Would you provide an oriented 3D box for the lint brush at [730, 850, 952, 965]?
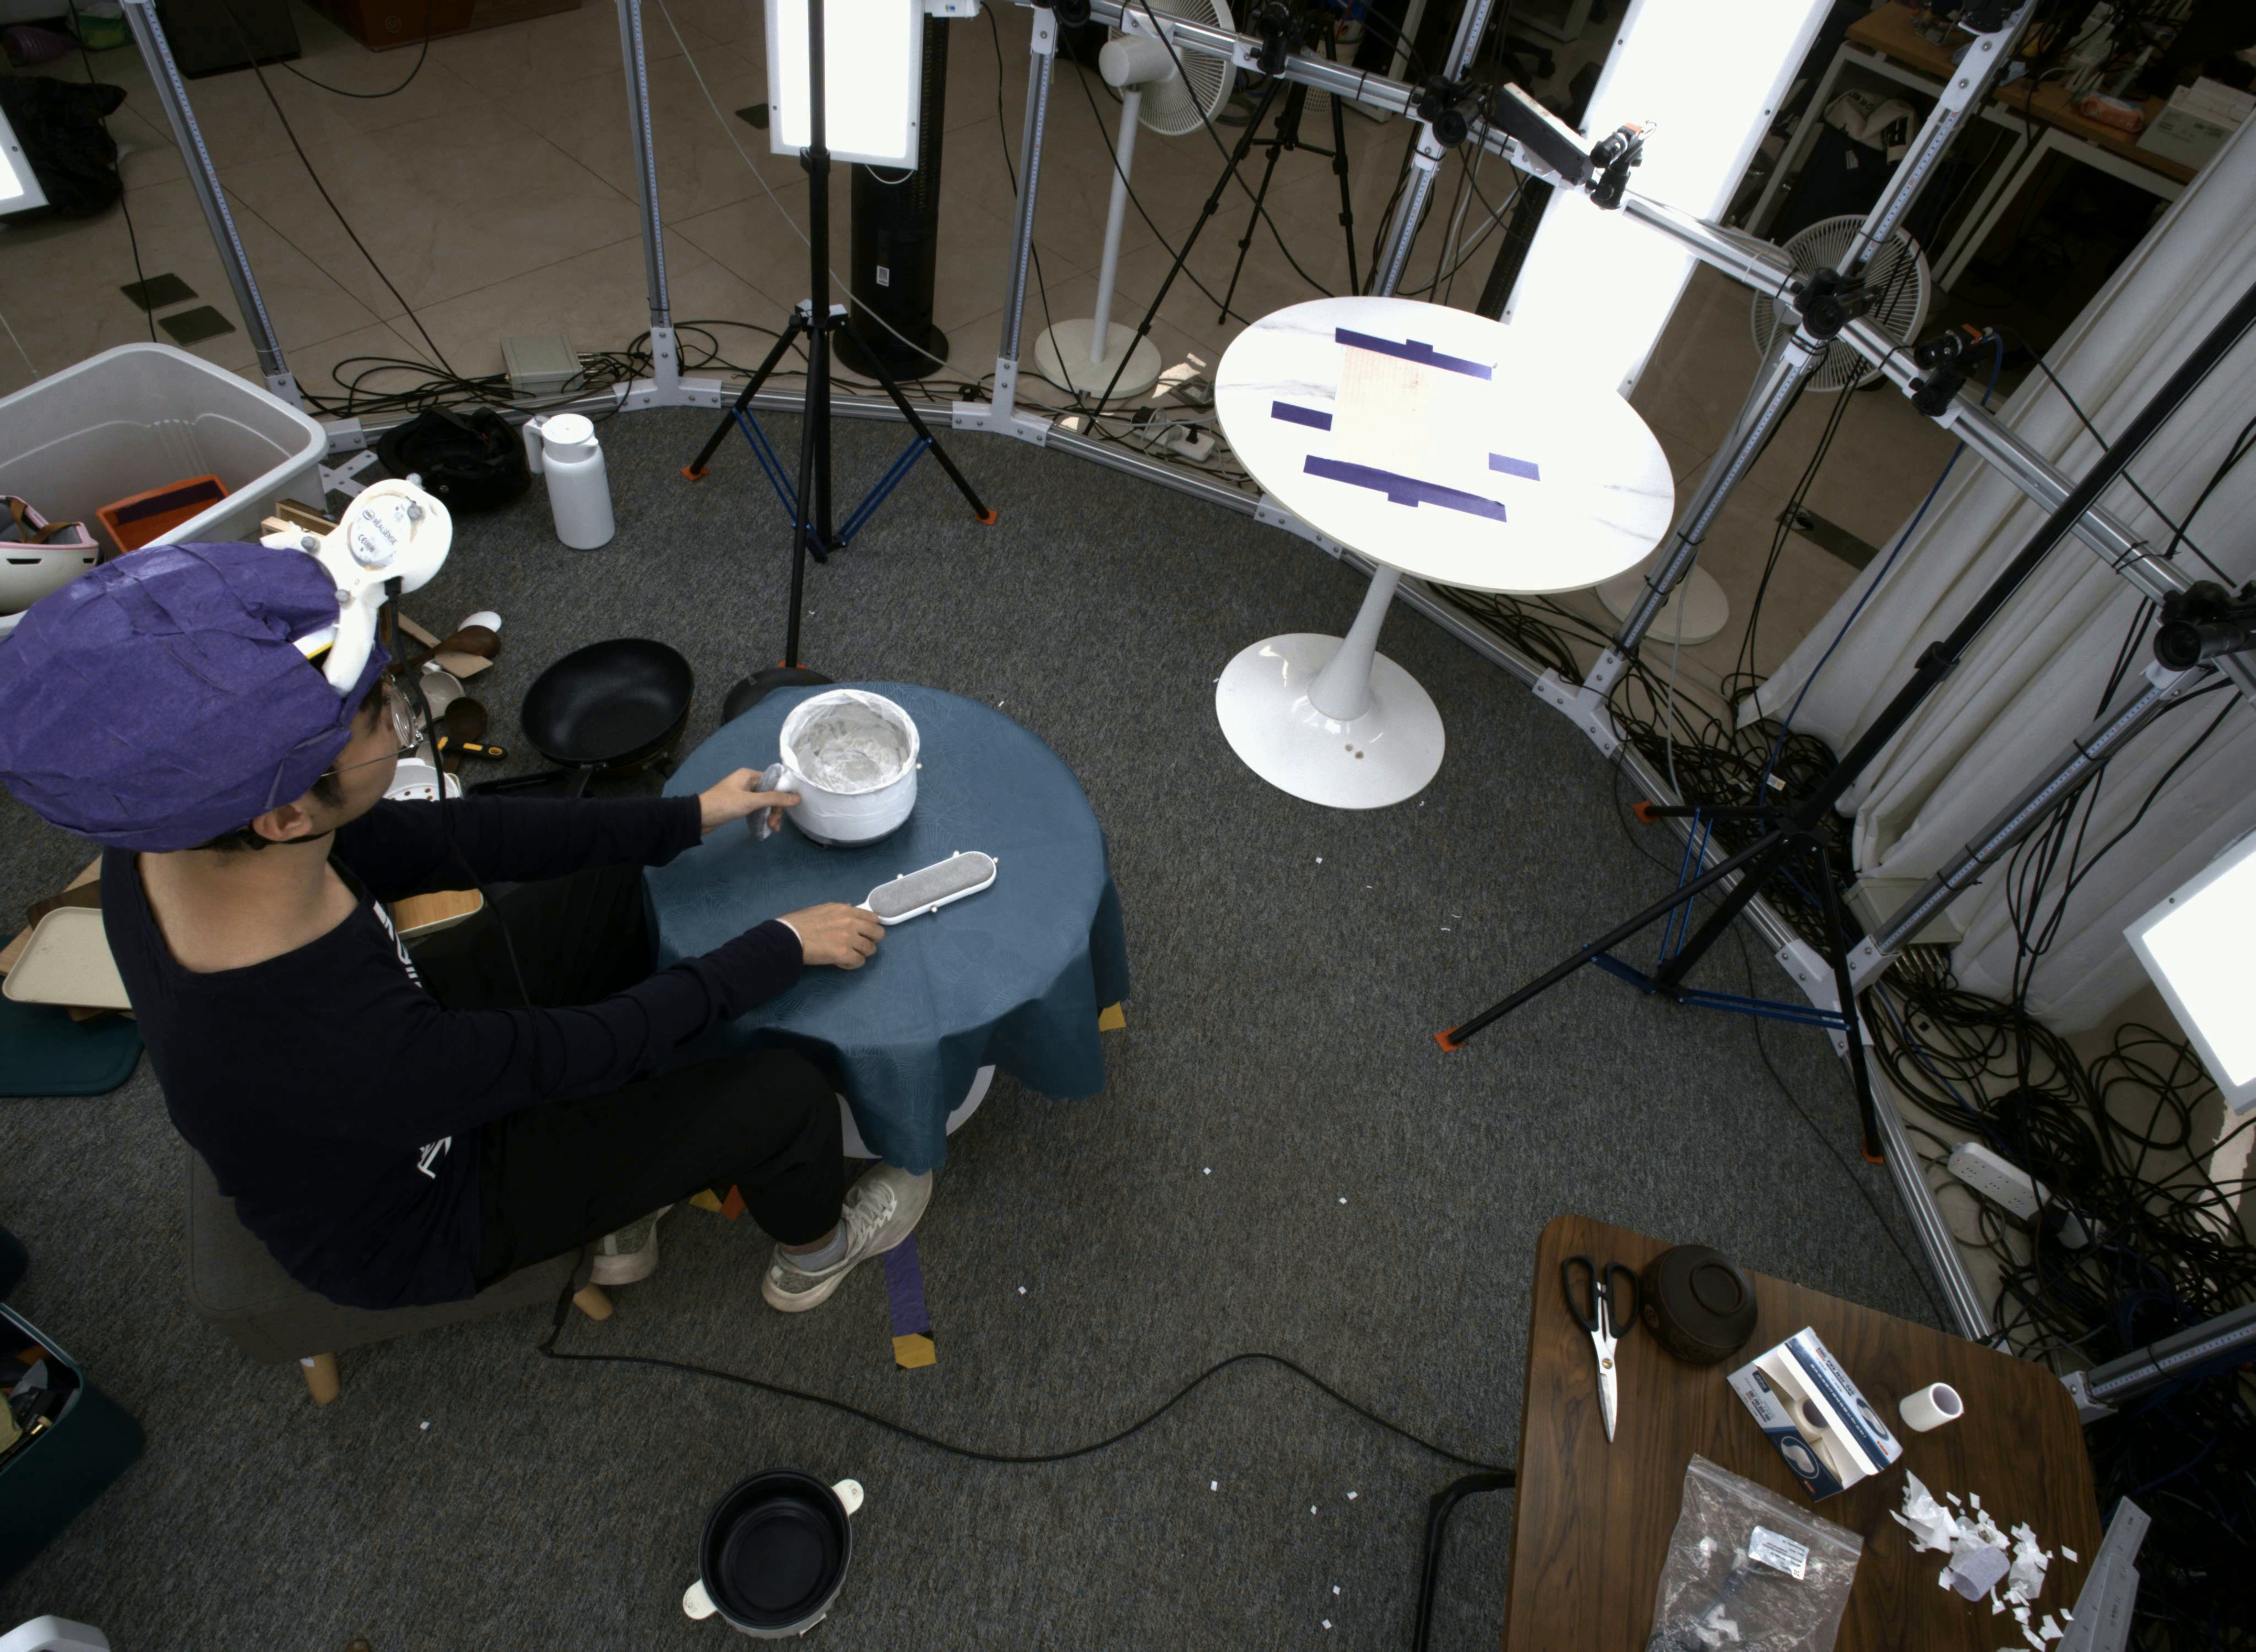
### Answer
[{"bbox_3d":[-0.362,0.102,1.658,0.310,0.021,0.059,-24,69,-28],"label":"lint brush"}]

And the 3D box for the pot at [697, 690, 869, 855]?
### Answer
[{"bbox_3d":[-0.450,-0.057,1.679,0.234,0.140,0.174,-29,62,-31],"label":"pot"}]
